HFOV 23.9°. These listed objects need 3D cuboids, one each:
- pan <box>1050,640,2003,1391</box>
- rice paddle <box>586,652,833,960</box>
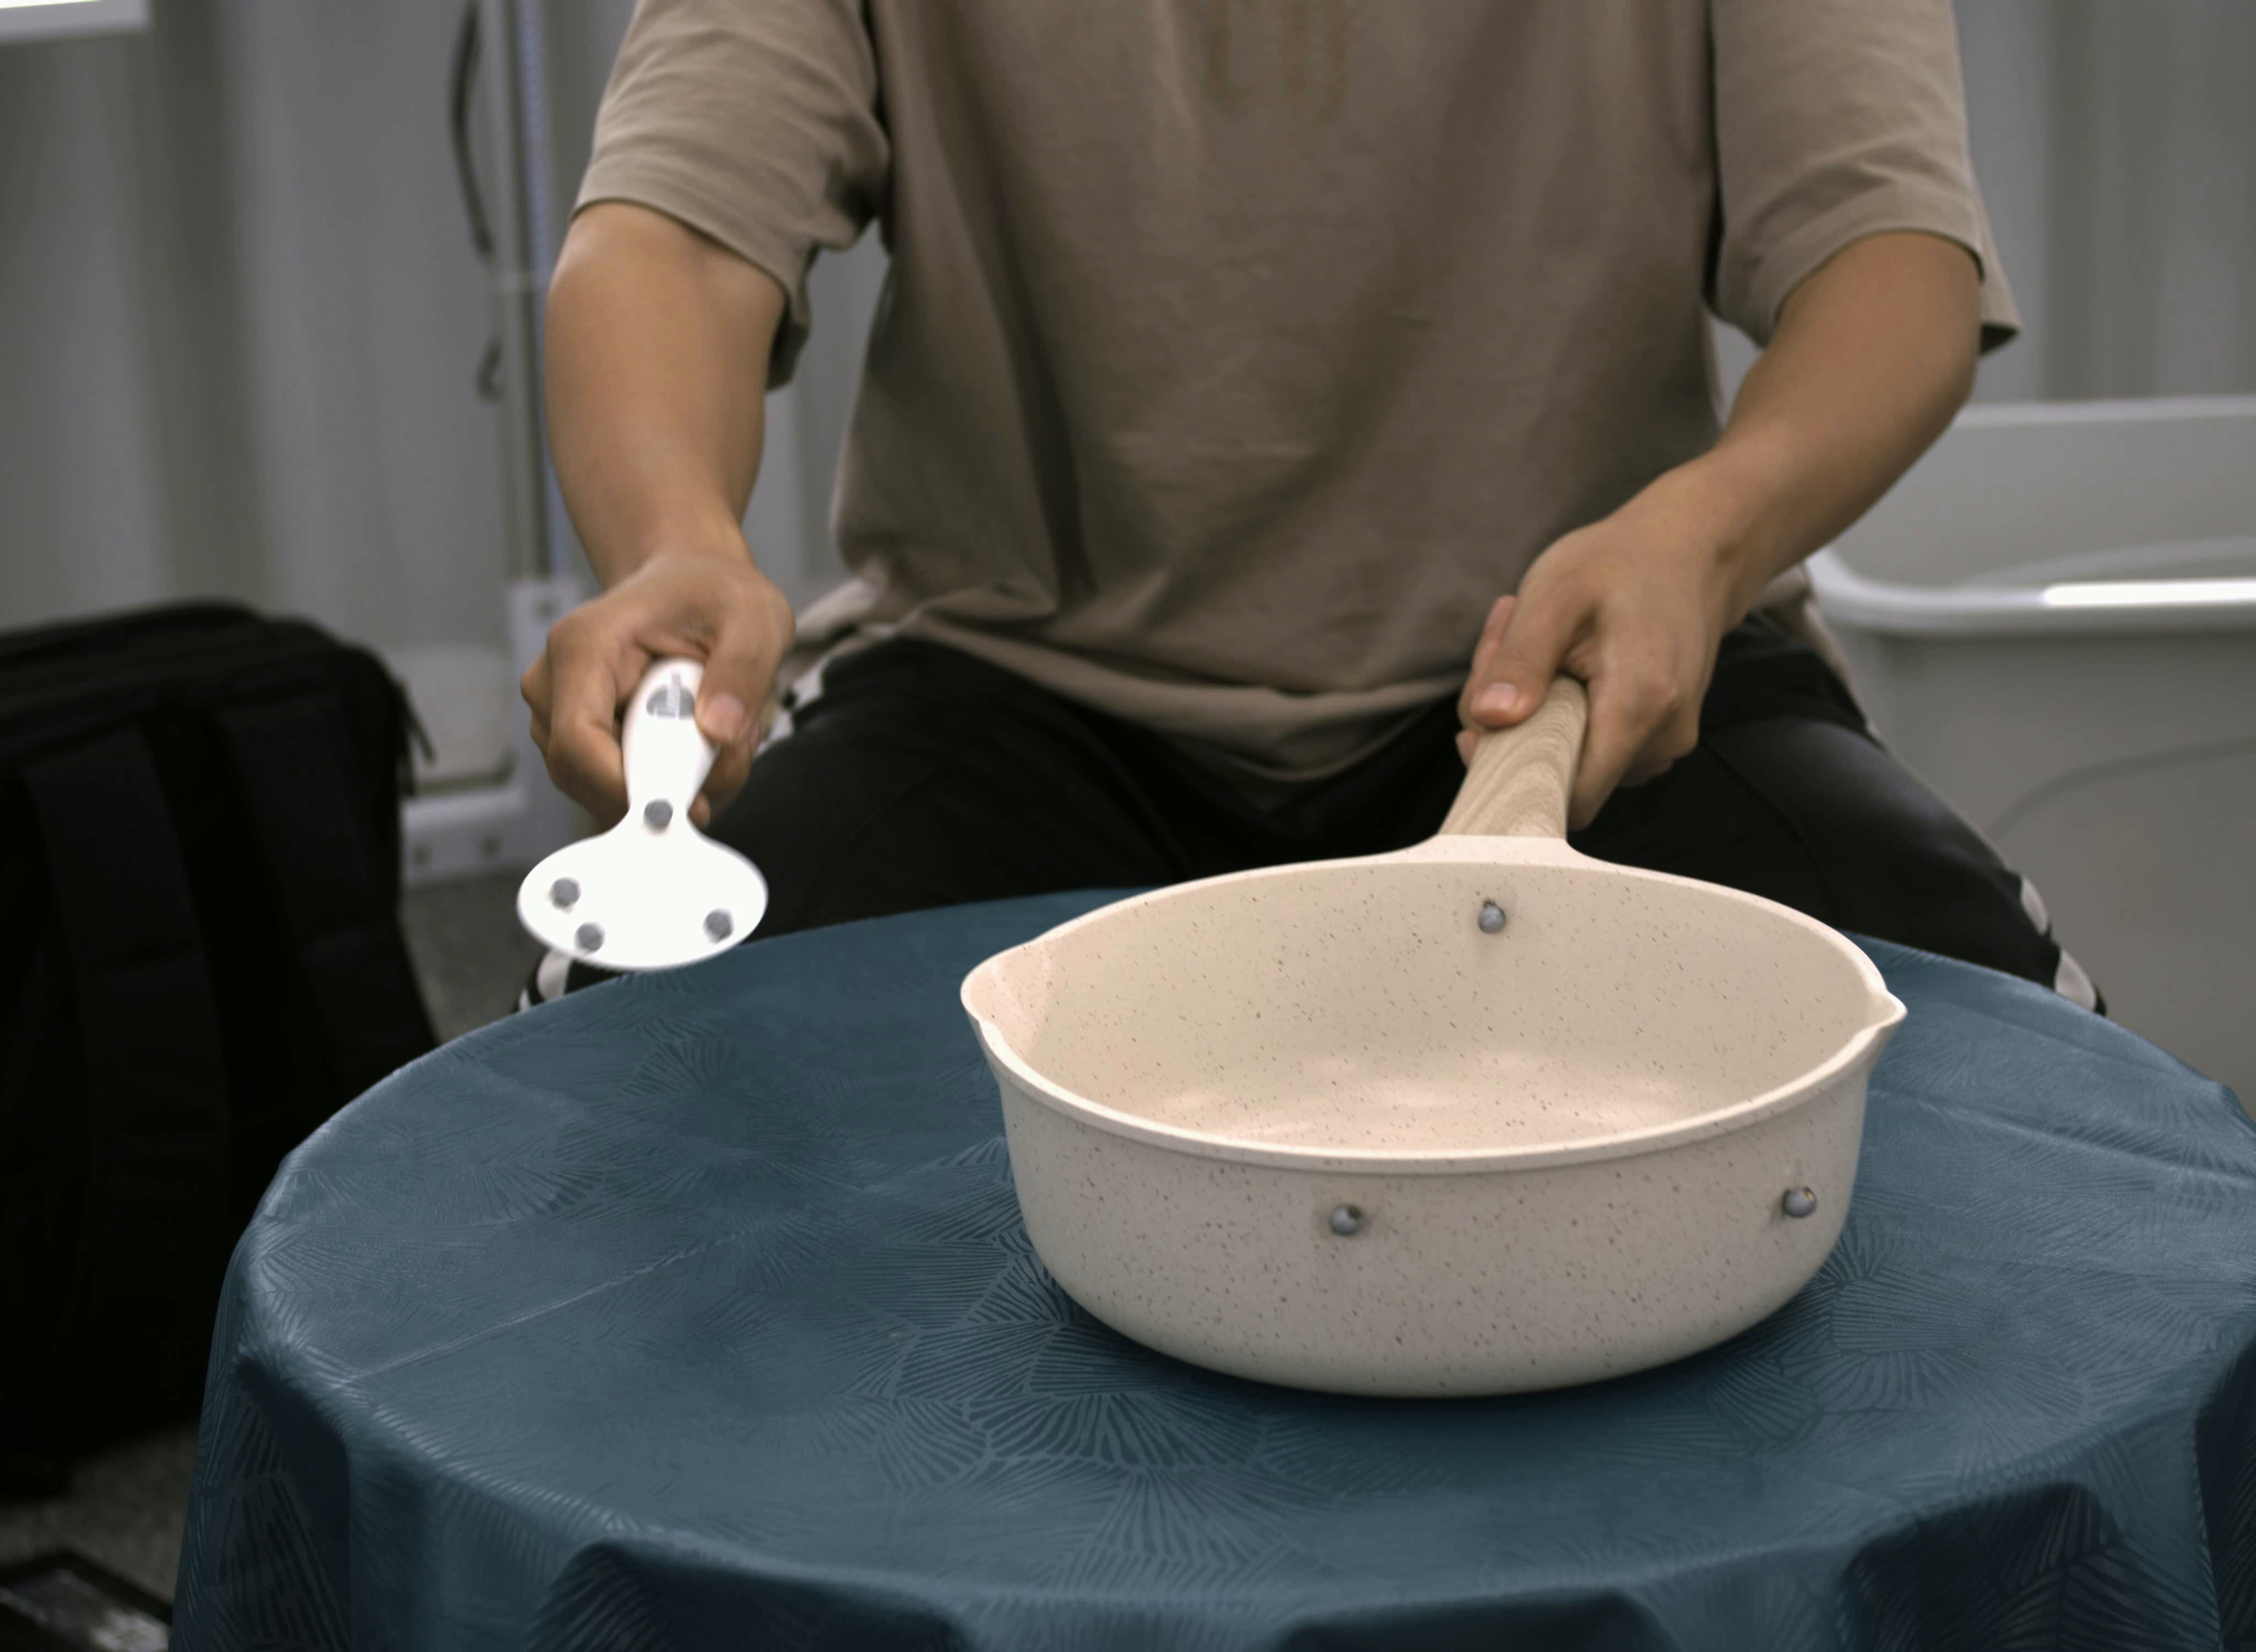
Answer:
[{"bbox_3d":[0.127,0.050,1.549,0.265,0.102,0.432,0,16,12],"label":"pan"},{"bbox_3d":[-0.117,-0.004,1.537,0.068,0.029,0.206,2,21,-1],"label":"rice paddle"}]
